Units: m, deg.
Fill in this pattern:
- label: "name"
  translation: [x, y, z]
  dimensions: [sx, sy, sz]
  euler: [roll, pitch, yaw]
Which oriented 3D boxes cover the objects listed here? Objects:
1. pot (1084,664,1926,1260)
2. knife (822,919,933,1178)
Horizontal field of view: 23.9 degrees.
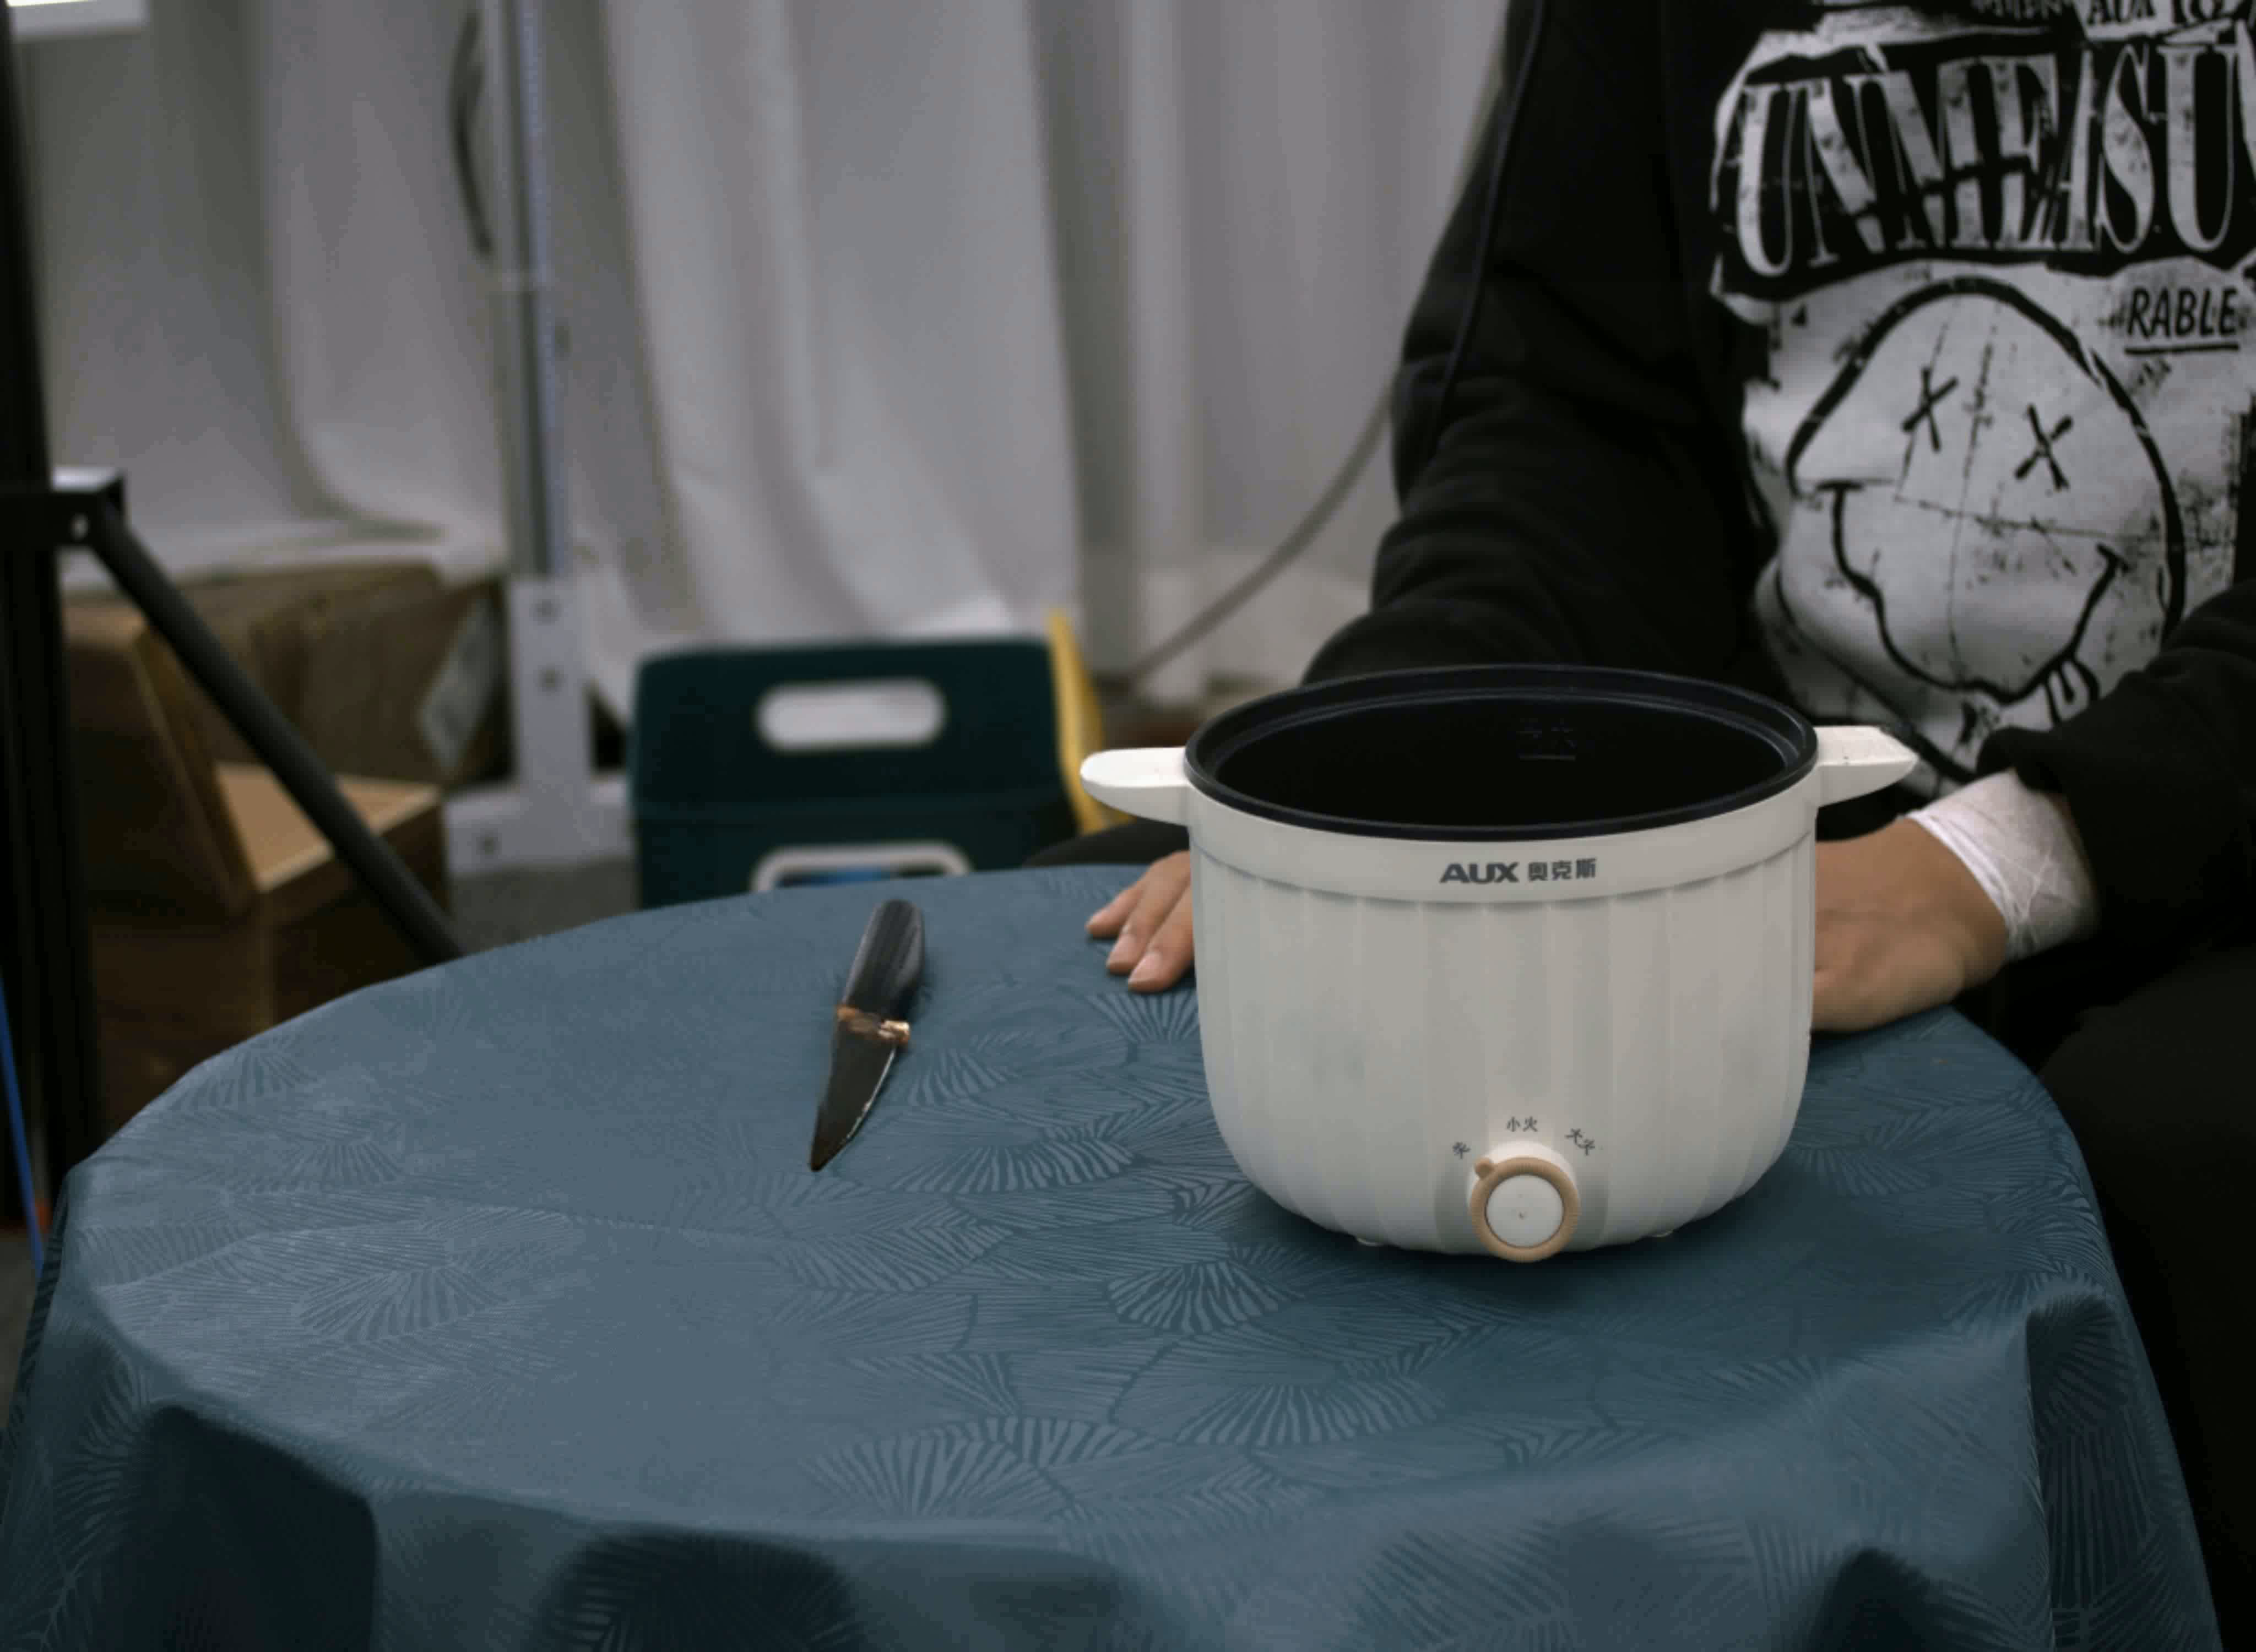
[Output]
- label: "pot"
  translation: [0.110, 0.041, 1.518]
  dimensions: [0.240, 0.143, 0.191]
  euler: [-3, 12, 2]
- label: "knife"
  translation: [-0.082, 0.070, 1.690]
  dimensions: [0.026, 0.017, 0.225]
  euler: [13, 18, 0]
